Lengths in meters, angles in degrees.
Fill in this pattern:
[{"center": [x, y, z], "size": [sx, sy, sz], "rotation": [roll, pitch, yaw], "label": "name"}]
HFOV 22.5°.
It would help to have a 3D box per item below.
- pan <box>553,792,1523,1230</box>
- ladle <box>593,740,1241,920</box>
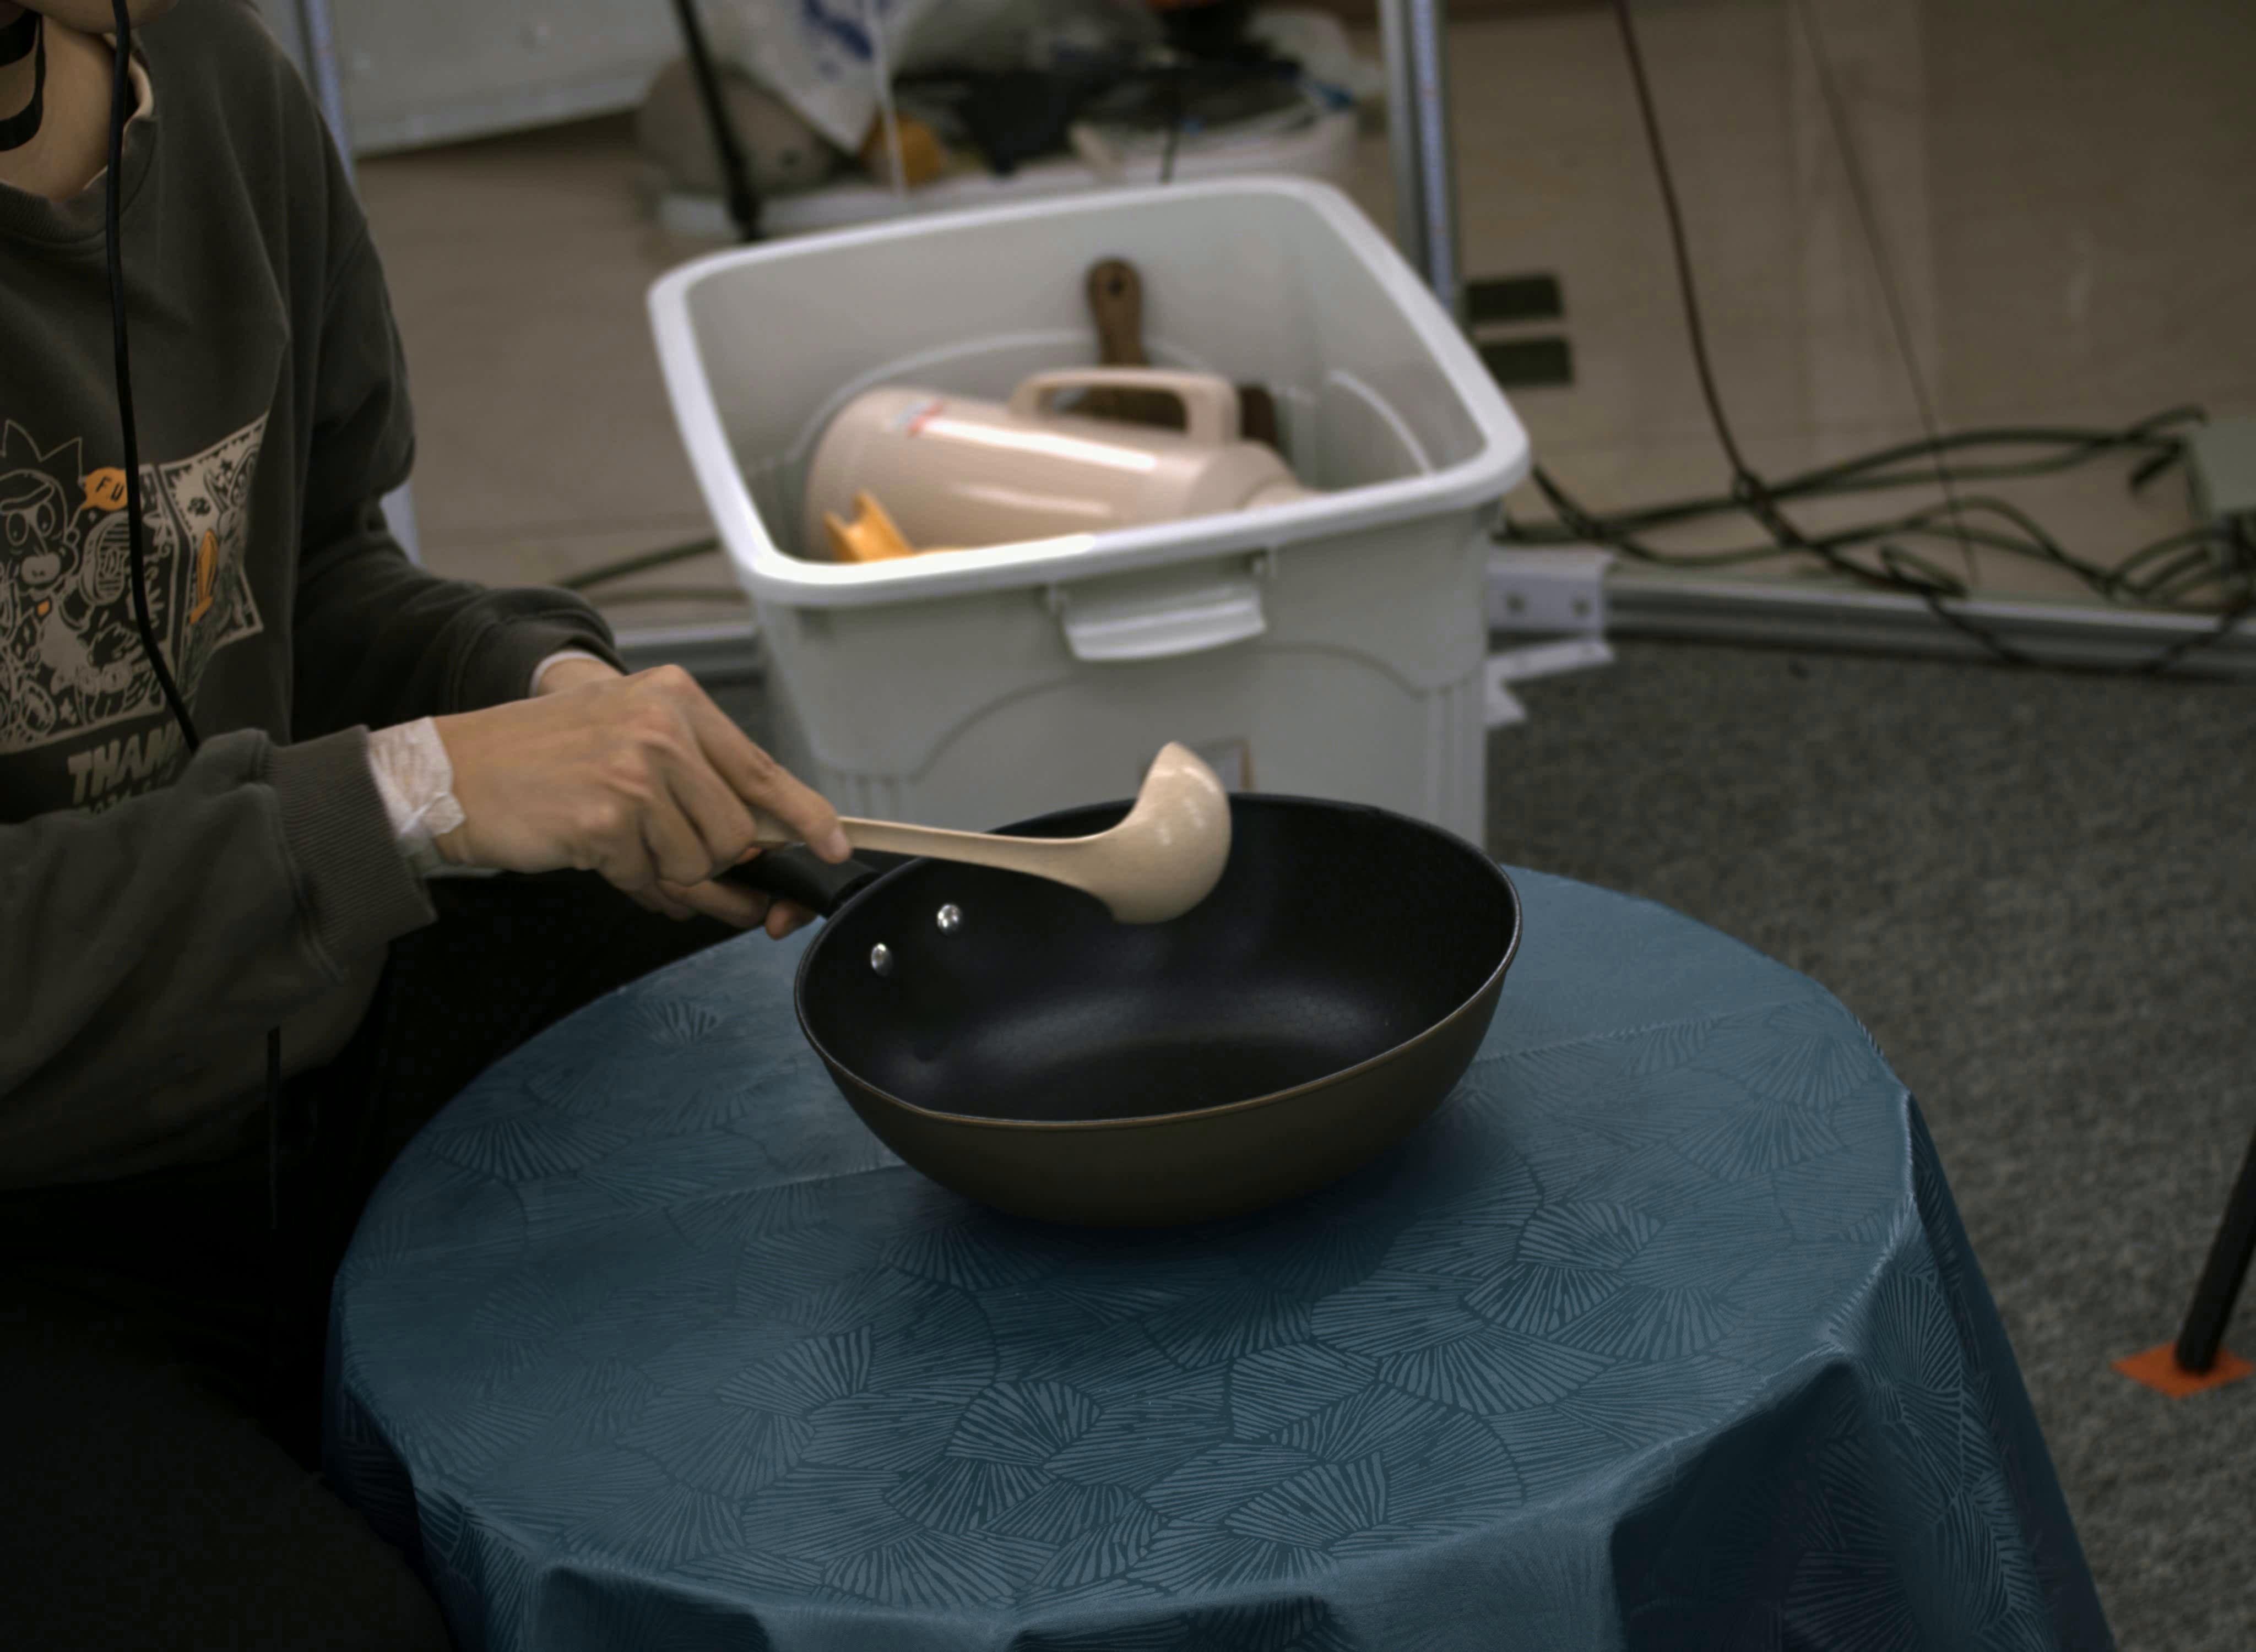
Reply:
[{"center": [-0.056, 0.064, 2.221], "size": [0.460, 0.088, 0.285], "rotation": [13, 31, 37], "label": "pan"}, {"center": [-0.082, -0.016, 2.162], "size": [0.254, 0.073, 0.071], "rotation": [10, 36, -16], "label": "ladle"}]
